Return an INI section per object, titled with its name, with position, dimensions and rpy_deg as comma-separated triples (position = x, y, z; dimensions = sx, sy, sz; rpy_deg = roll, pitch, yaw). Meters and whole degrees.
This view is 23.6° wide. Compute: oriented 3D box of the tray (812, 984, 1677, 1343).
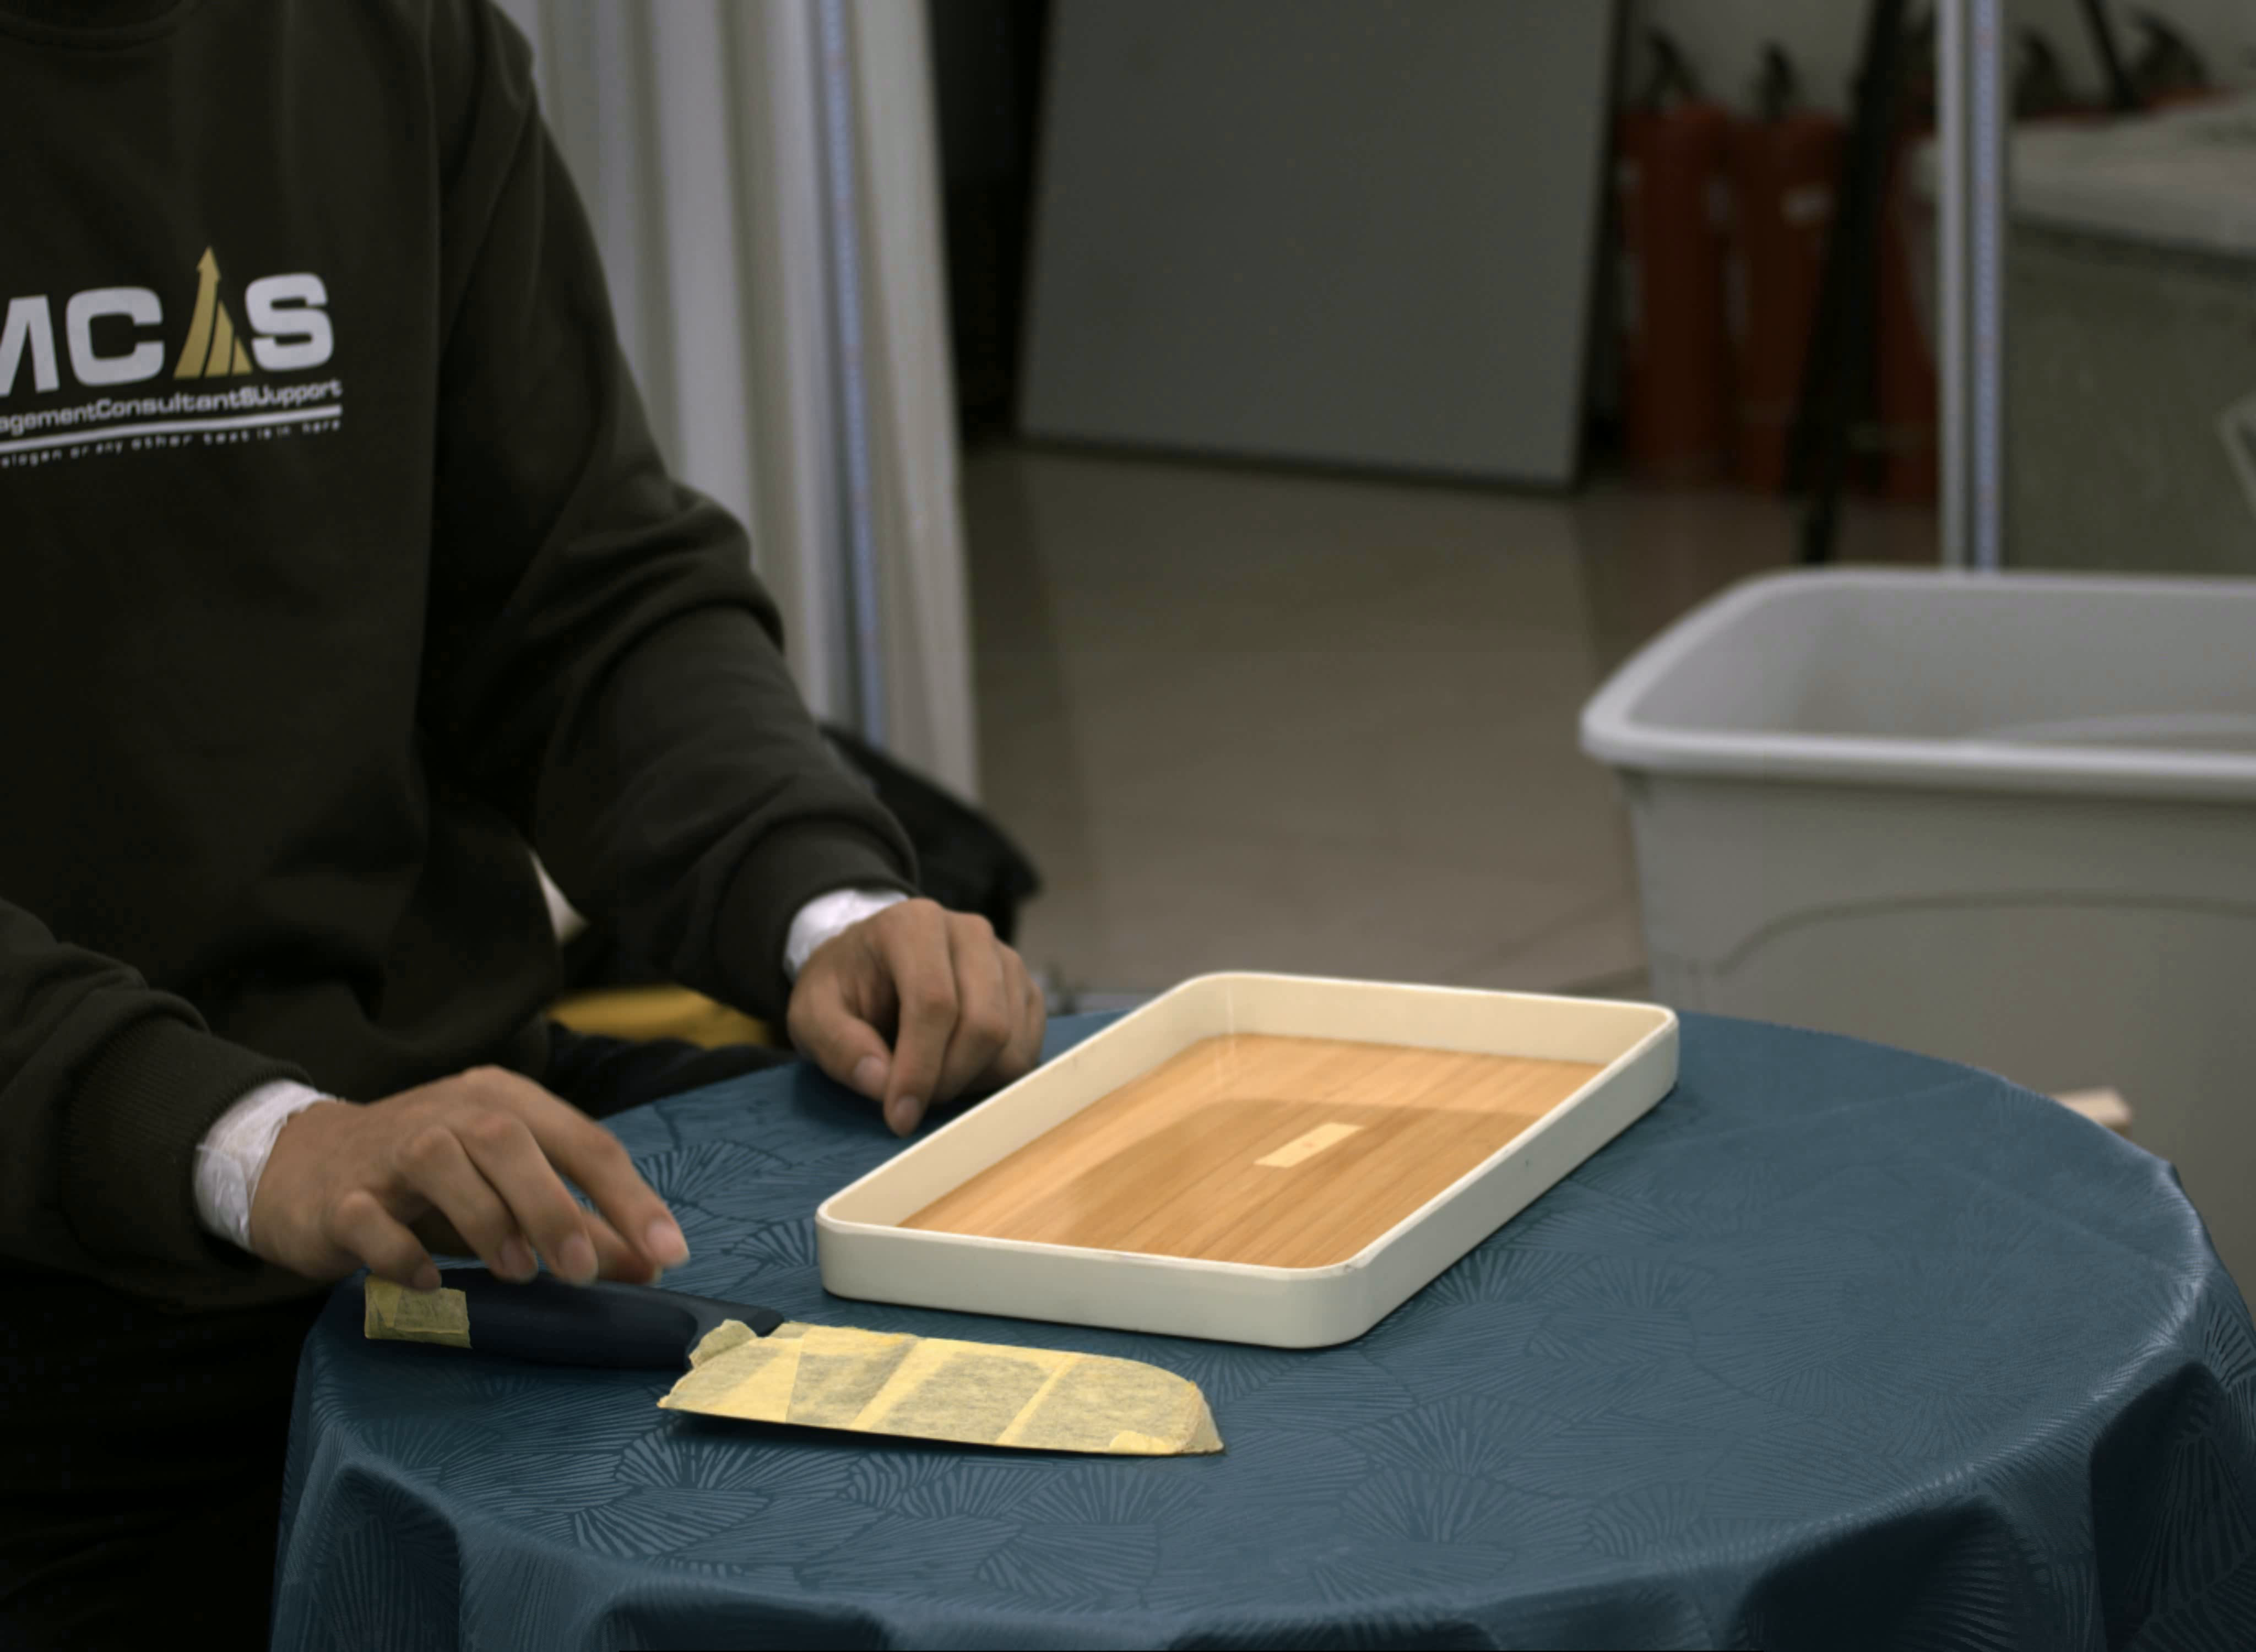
[tray]
position = 0.045, 0.106, 1.769
dimensions = 0.192, 0.028, 0.296
rpy_deg = 2, 14, 28

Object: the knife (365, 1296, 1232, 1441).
[knife]
position = -0.104, 0.164, 1.600
dimensions = 0.289, 0.027, 0.080
rpy_deg = 2, 15, 22
